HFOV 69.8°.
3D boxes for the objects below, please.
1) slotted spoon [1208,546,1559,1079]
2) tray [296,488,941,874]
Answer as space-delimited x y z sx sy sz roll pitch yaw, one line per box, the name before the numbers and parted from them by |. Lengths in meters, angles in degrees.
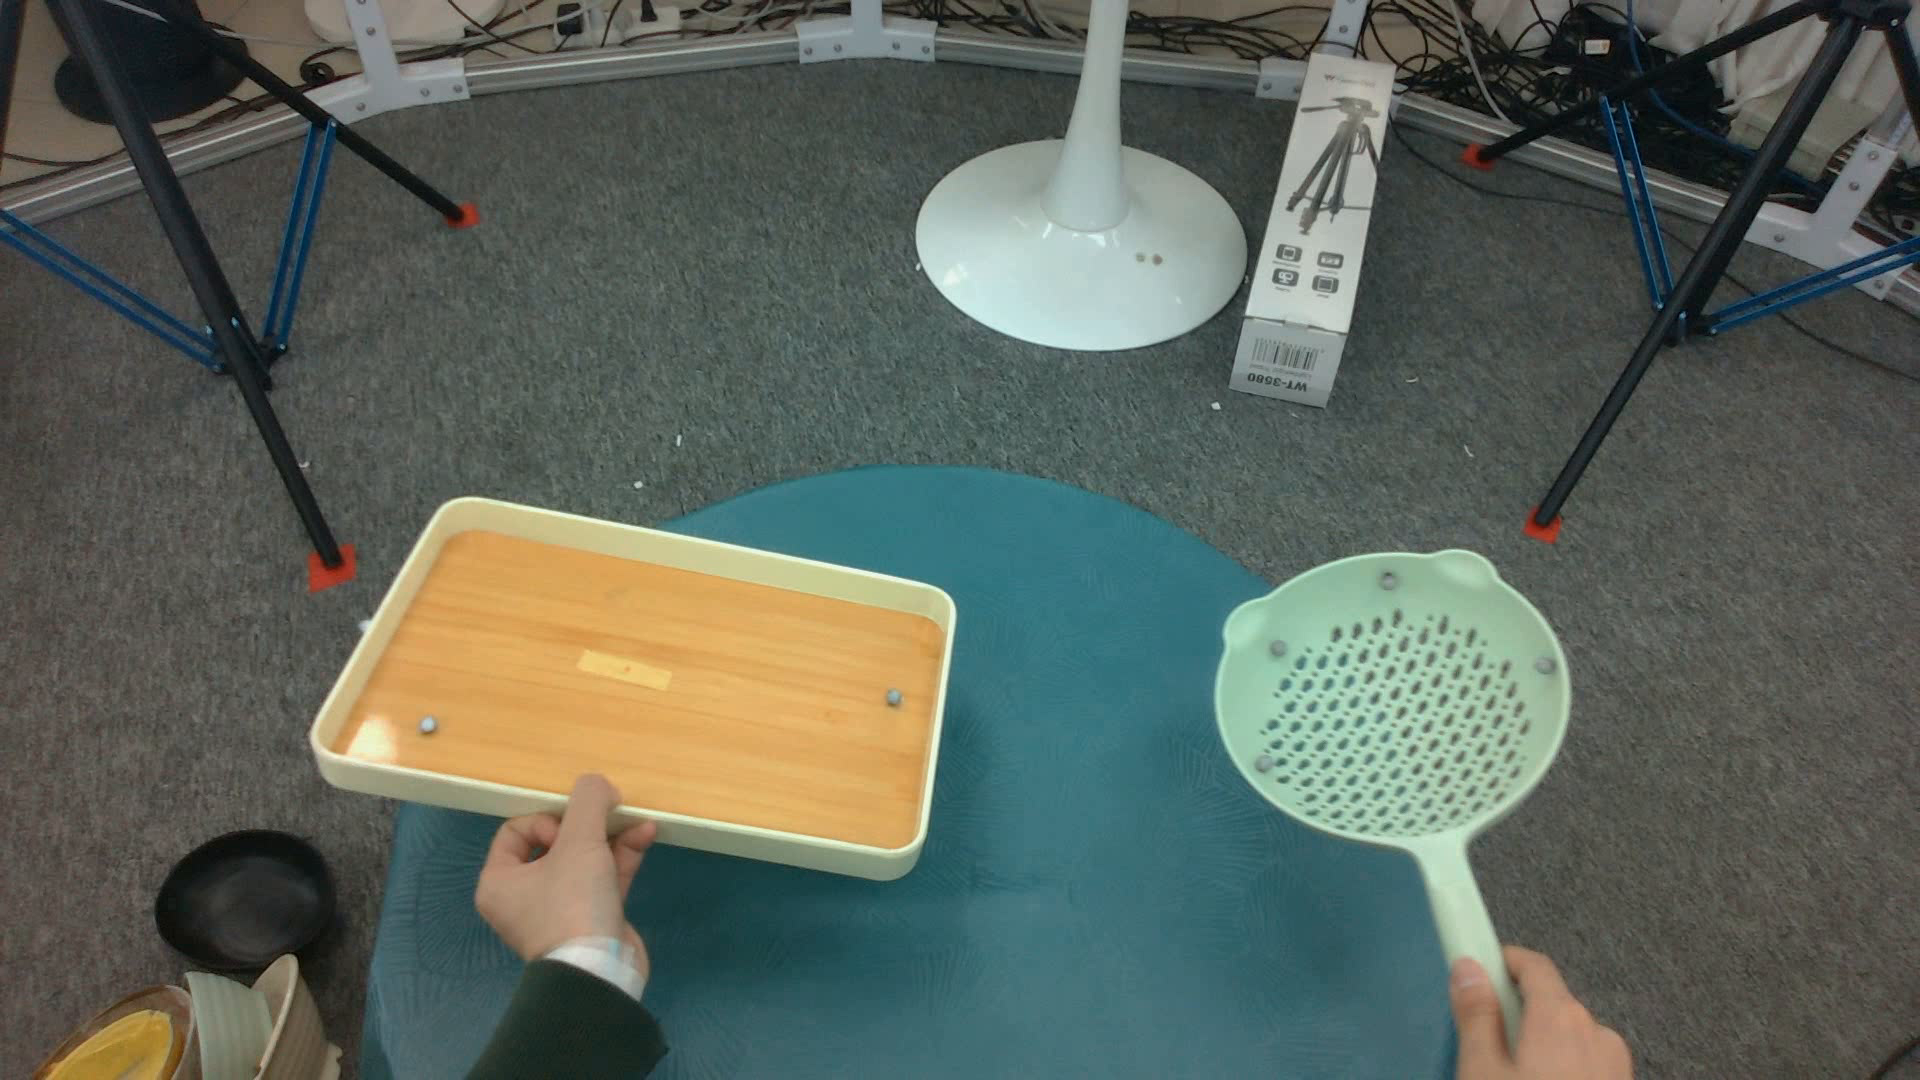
slotted spoon | 0.217 0.149 0.633 0.169 0.075 0.360 -16 37 13
tray | -0.166 0.068 0.732 0.300 0.027 0.192 11 43 -4
